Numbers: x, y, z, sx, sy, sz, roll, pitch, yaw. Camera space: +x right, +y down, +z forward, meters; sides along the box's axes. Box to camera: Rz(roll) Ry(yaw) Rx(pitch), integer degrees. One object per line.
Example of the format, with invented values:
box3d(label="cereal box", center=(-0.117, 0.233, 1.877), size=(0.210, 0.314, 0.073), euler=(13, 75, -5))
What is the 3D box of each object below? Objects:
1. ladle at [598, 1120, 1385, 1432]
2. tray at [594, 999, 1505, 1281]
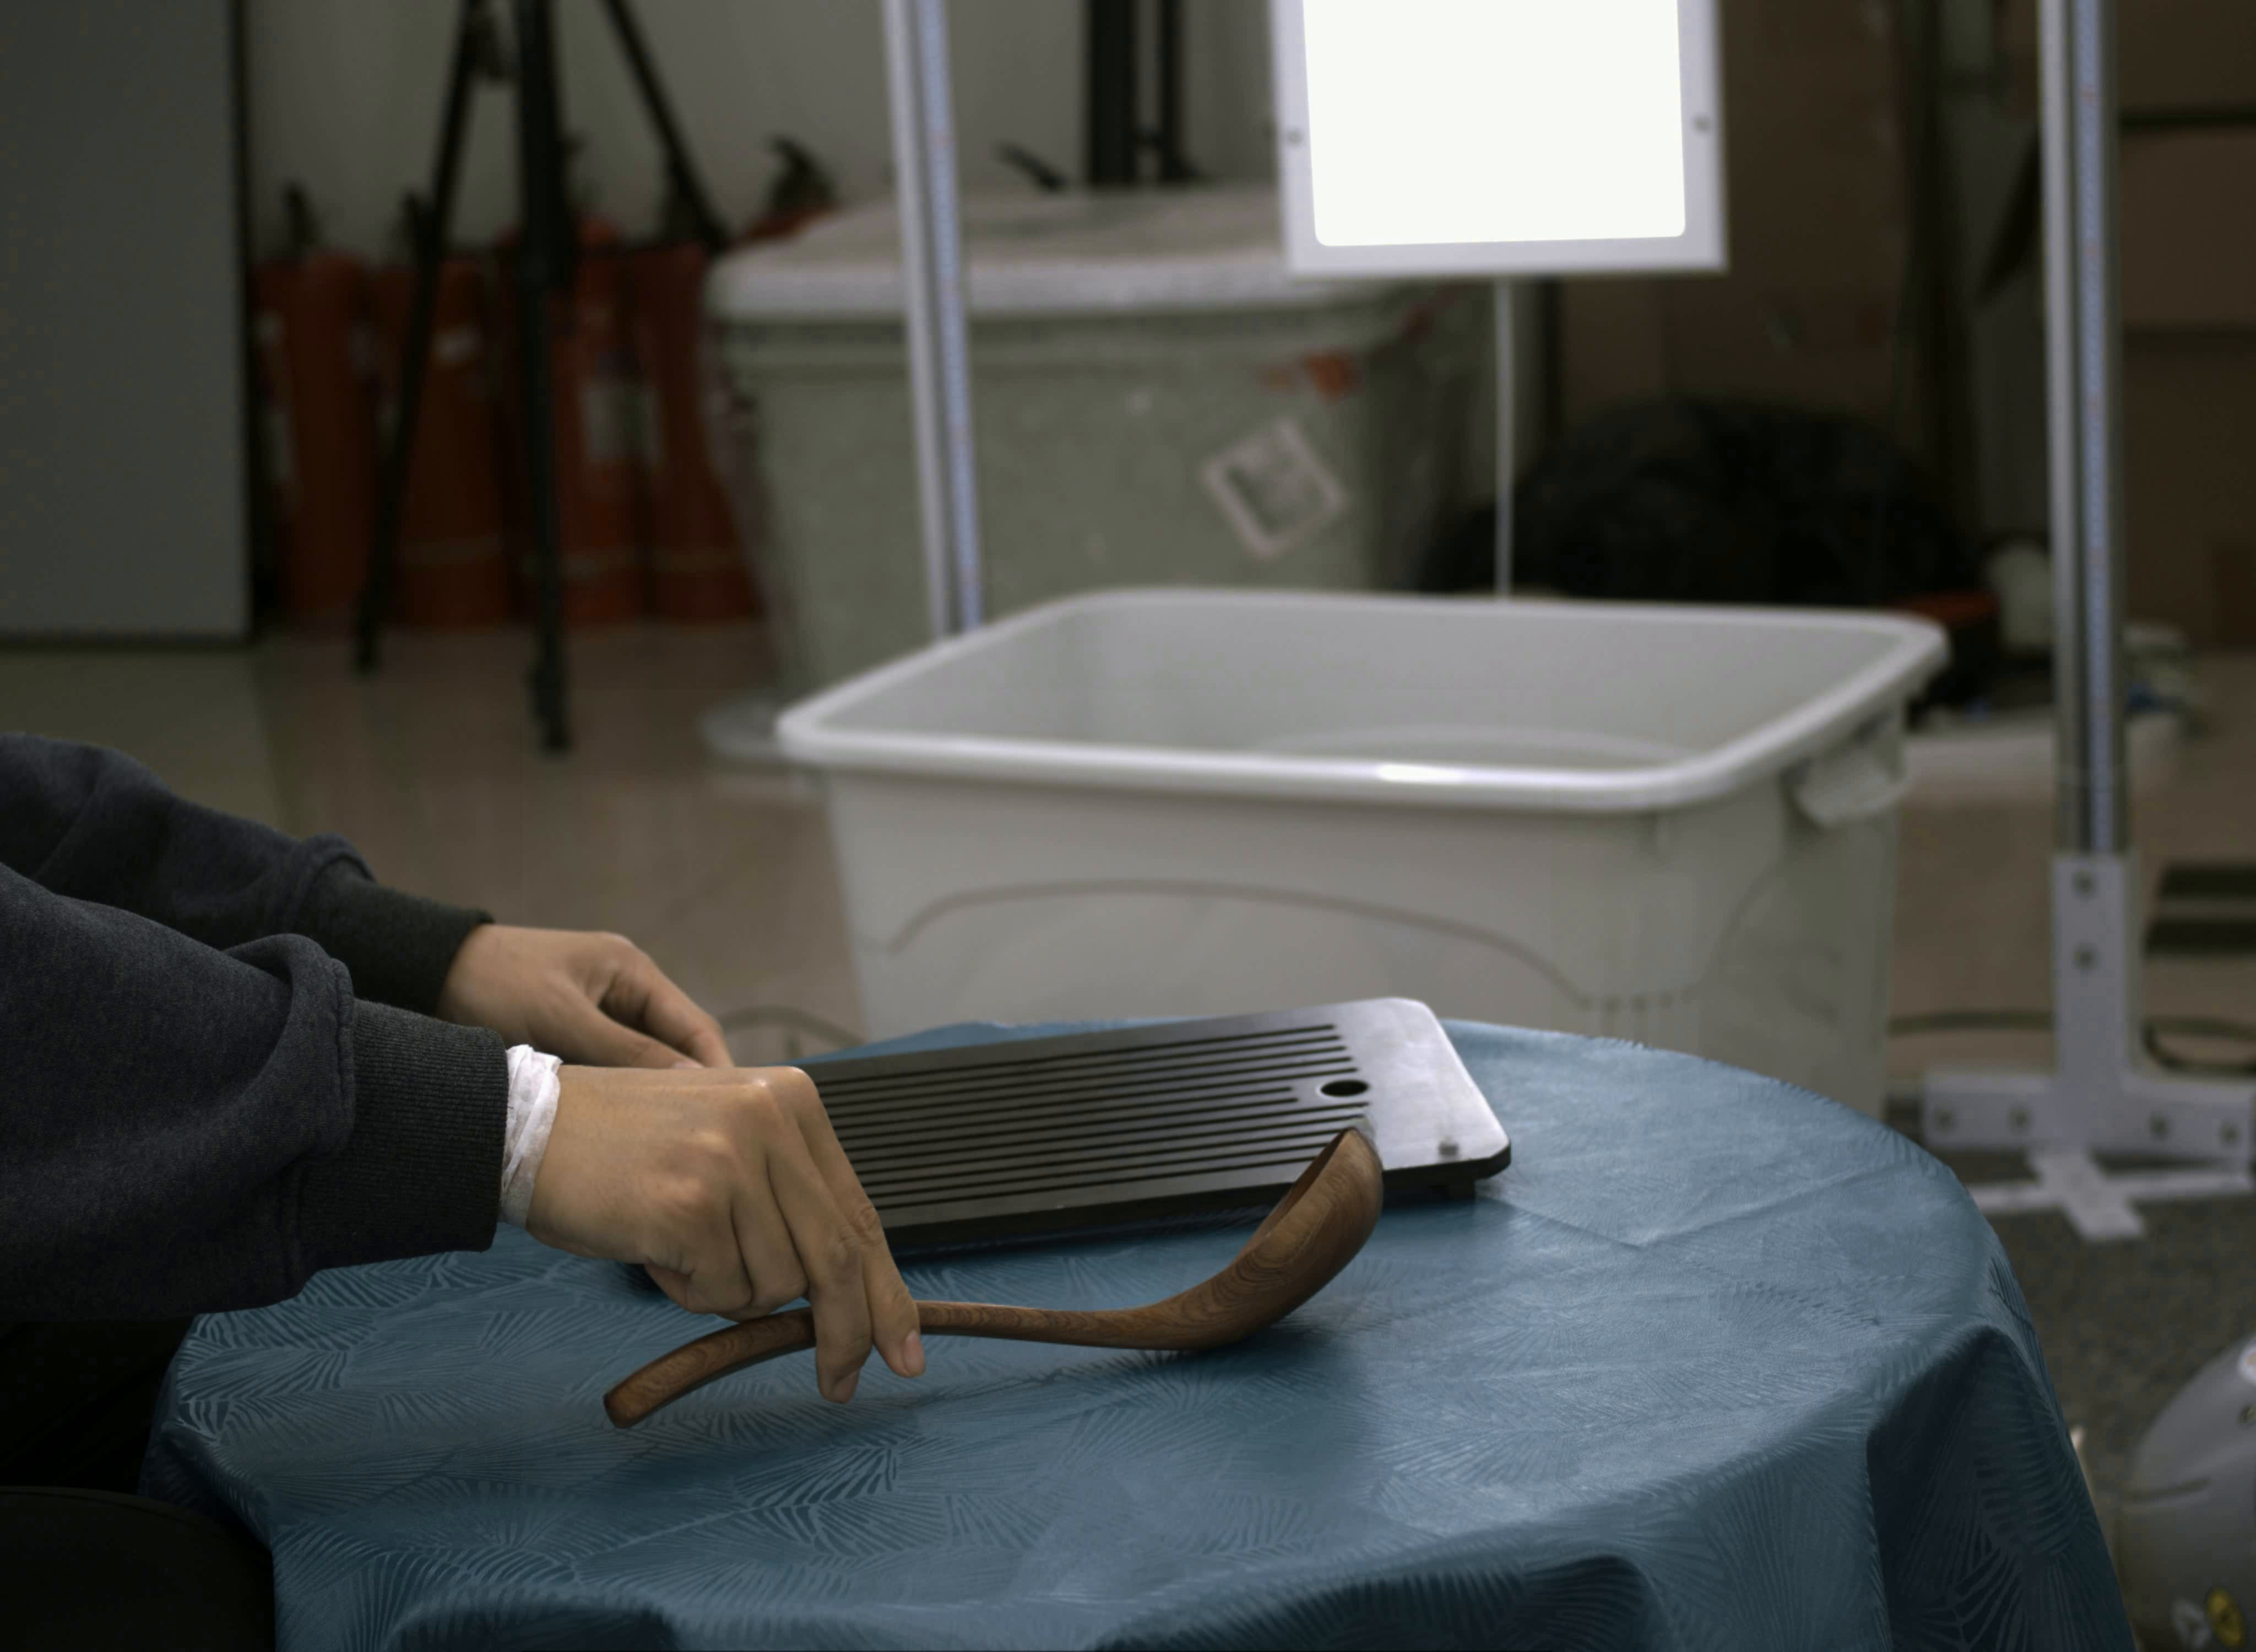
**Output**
box3d(label="ladle", center=(-0.042, 0.140, 1.716), size=(0.256, 0.065, 0.077), euler=(-7, -19, -14))
box3d(label="tray", center=(-0.031, 0.109, 1.922), size=(0.304, 0.019, 0.170), euler=(-6, 17, -4))
